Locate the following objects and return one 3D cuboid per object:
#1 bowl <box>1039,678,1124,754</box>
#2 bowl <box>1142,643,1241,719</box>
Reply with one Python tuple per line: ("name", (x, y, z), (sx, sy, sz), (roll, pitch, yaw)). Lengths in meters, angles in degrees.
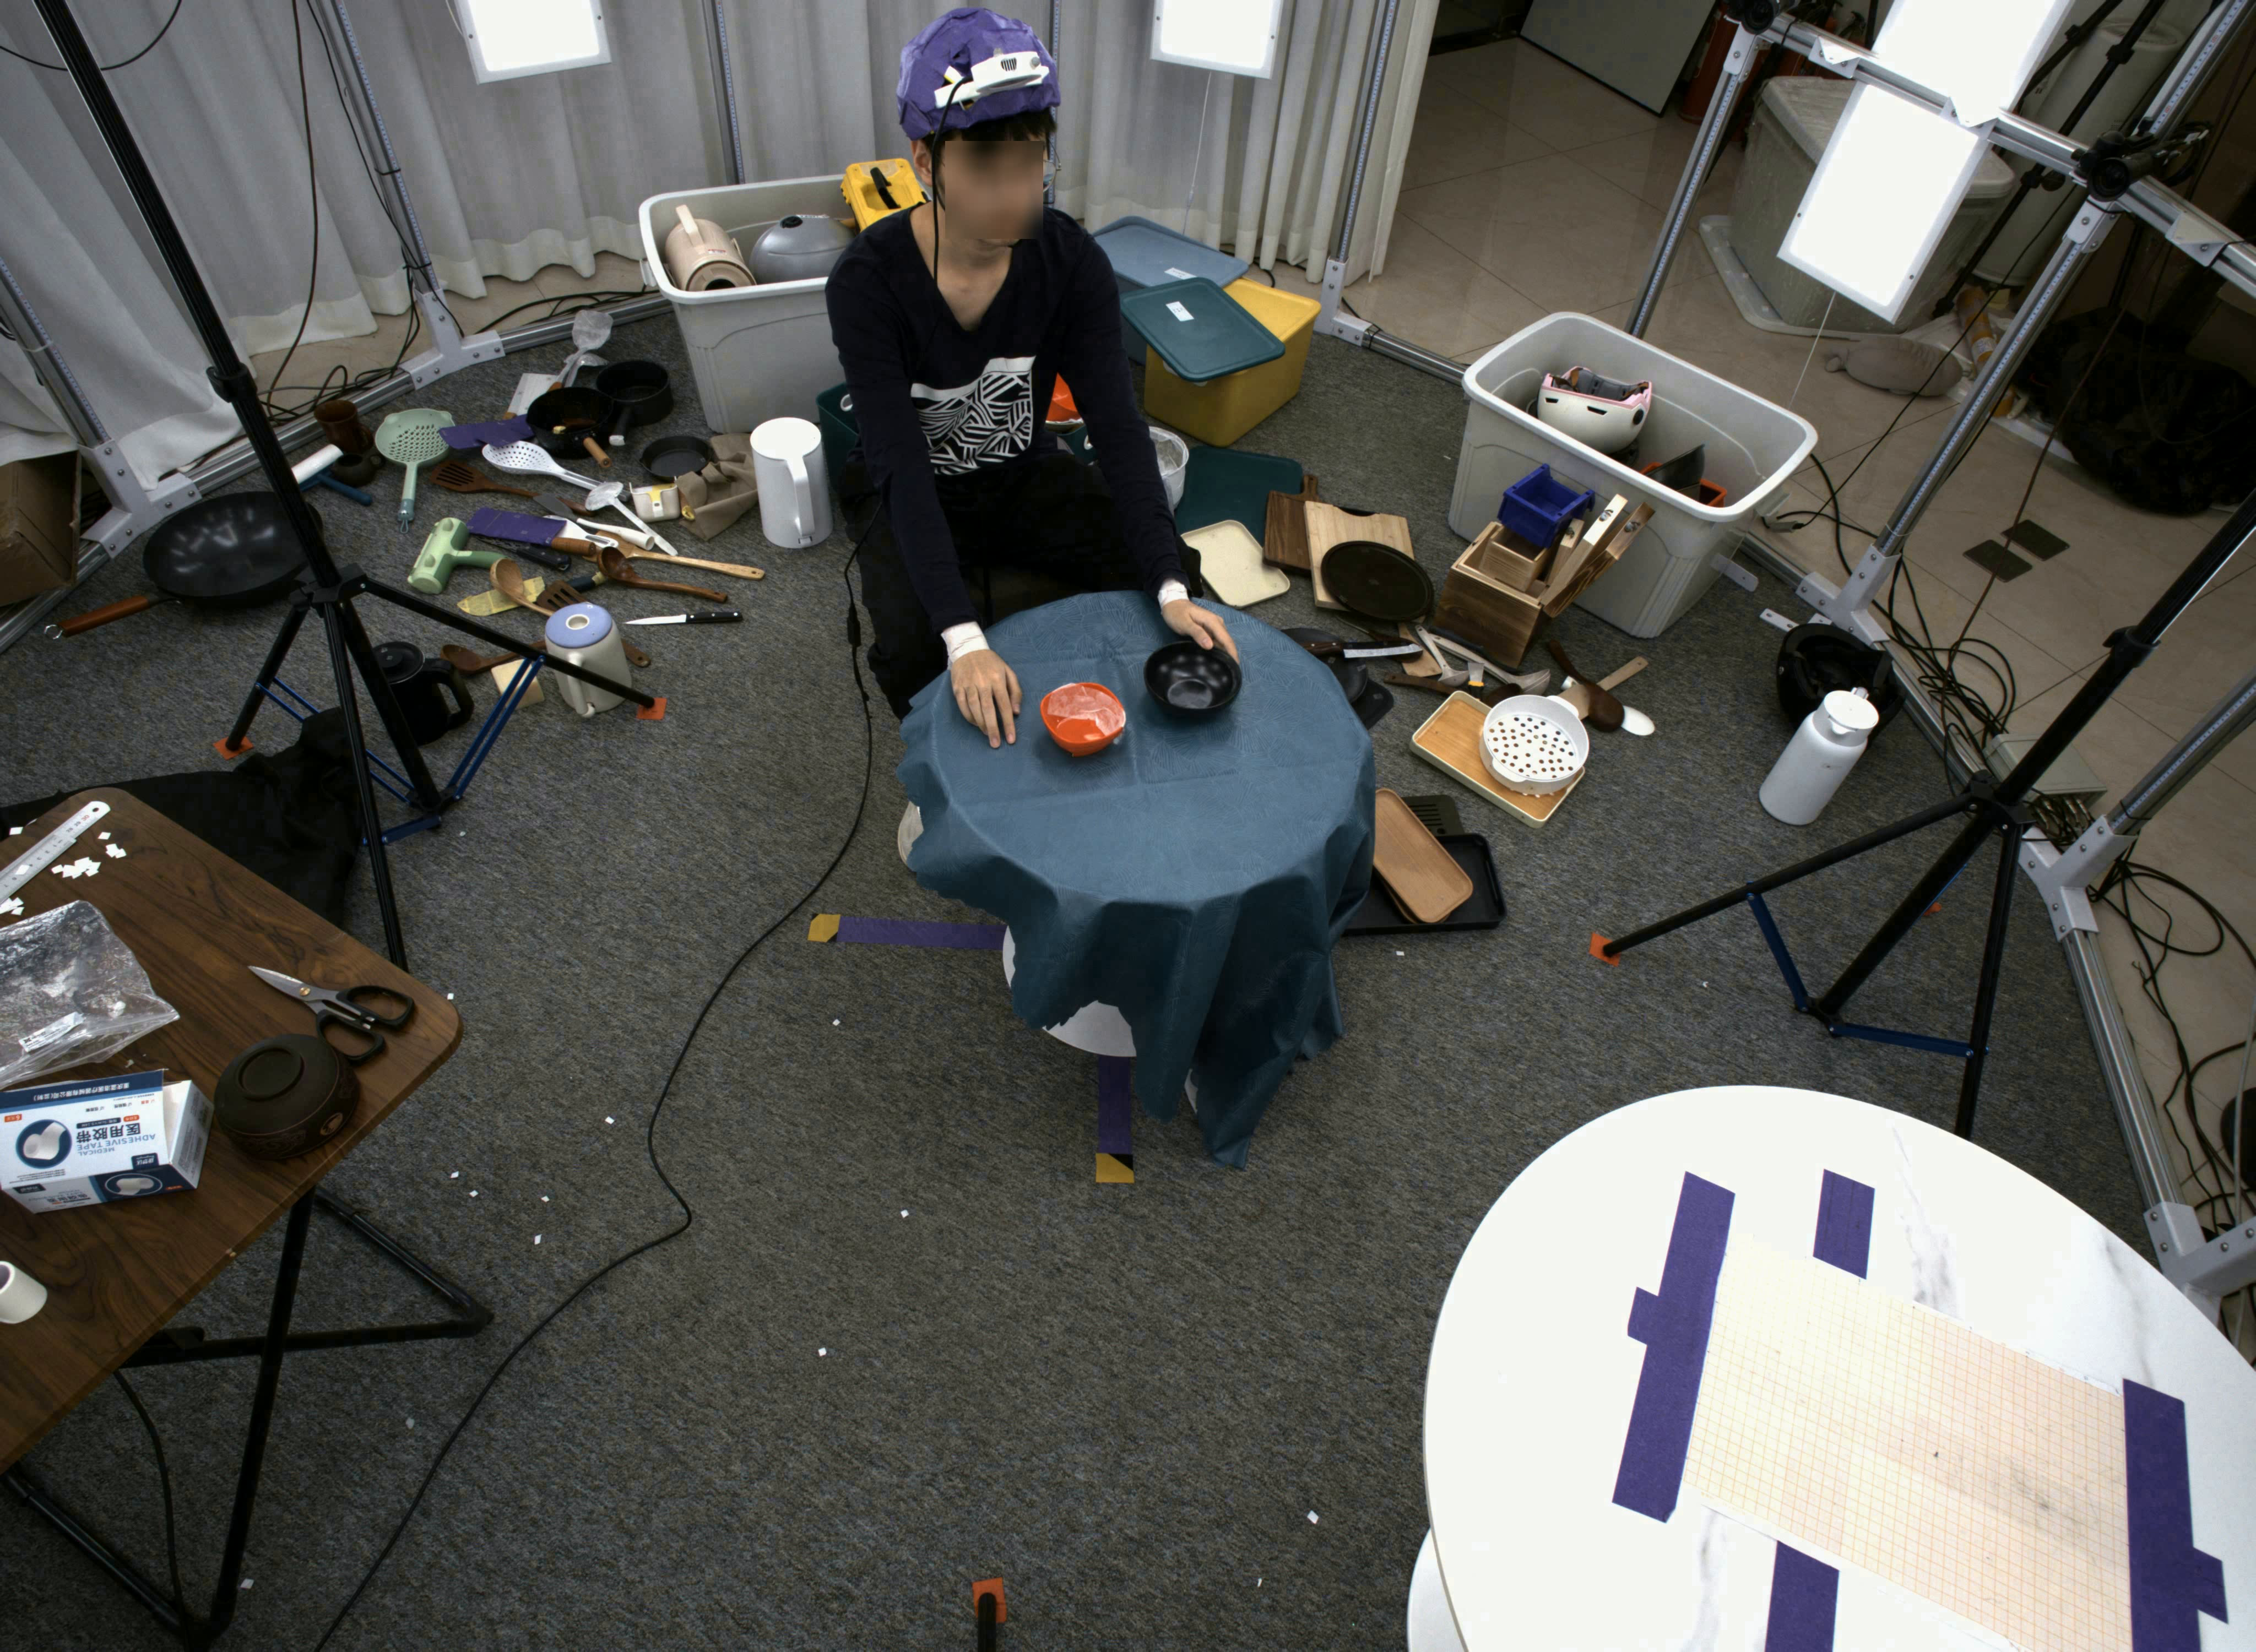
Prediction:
("bowl", (-0.063, -0.143, 1.747), (0.119, 0.050, 0.122), (-1, 55, 1))
("bowl", (0.089, -0.196, 1.815), (0.140, 0.048, 0.143), (1, 46, -1))
